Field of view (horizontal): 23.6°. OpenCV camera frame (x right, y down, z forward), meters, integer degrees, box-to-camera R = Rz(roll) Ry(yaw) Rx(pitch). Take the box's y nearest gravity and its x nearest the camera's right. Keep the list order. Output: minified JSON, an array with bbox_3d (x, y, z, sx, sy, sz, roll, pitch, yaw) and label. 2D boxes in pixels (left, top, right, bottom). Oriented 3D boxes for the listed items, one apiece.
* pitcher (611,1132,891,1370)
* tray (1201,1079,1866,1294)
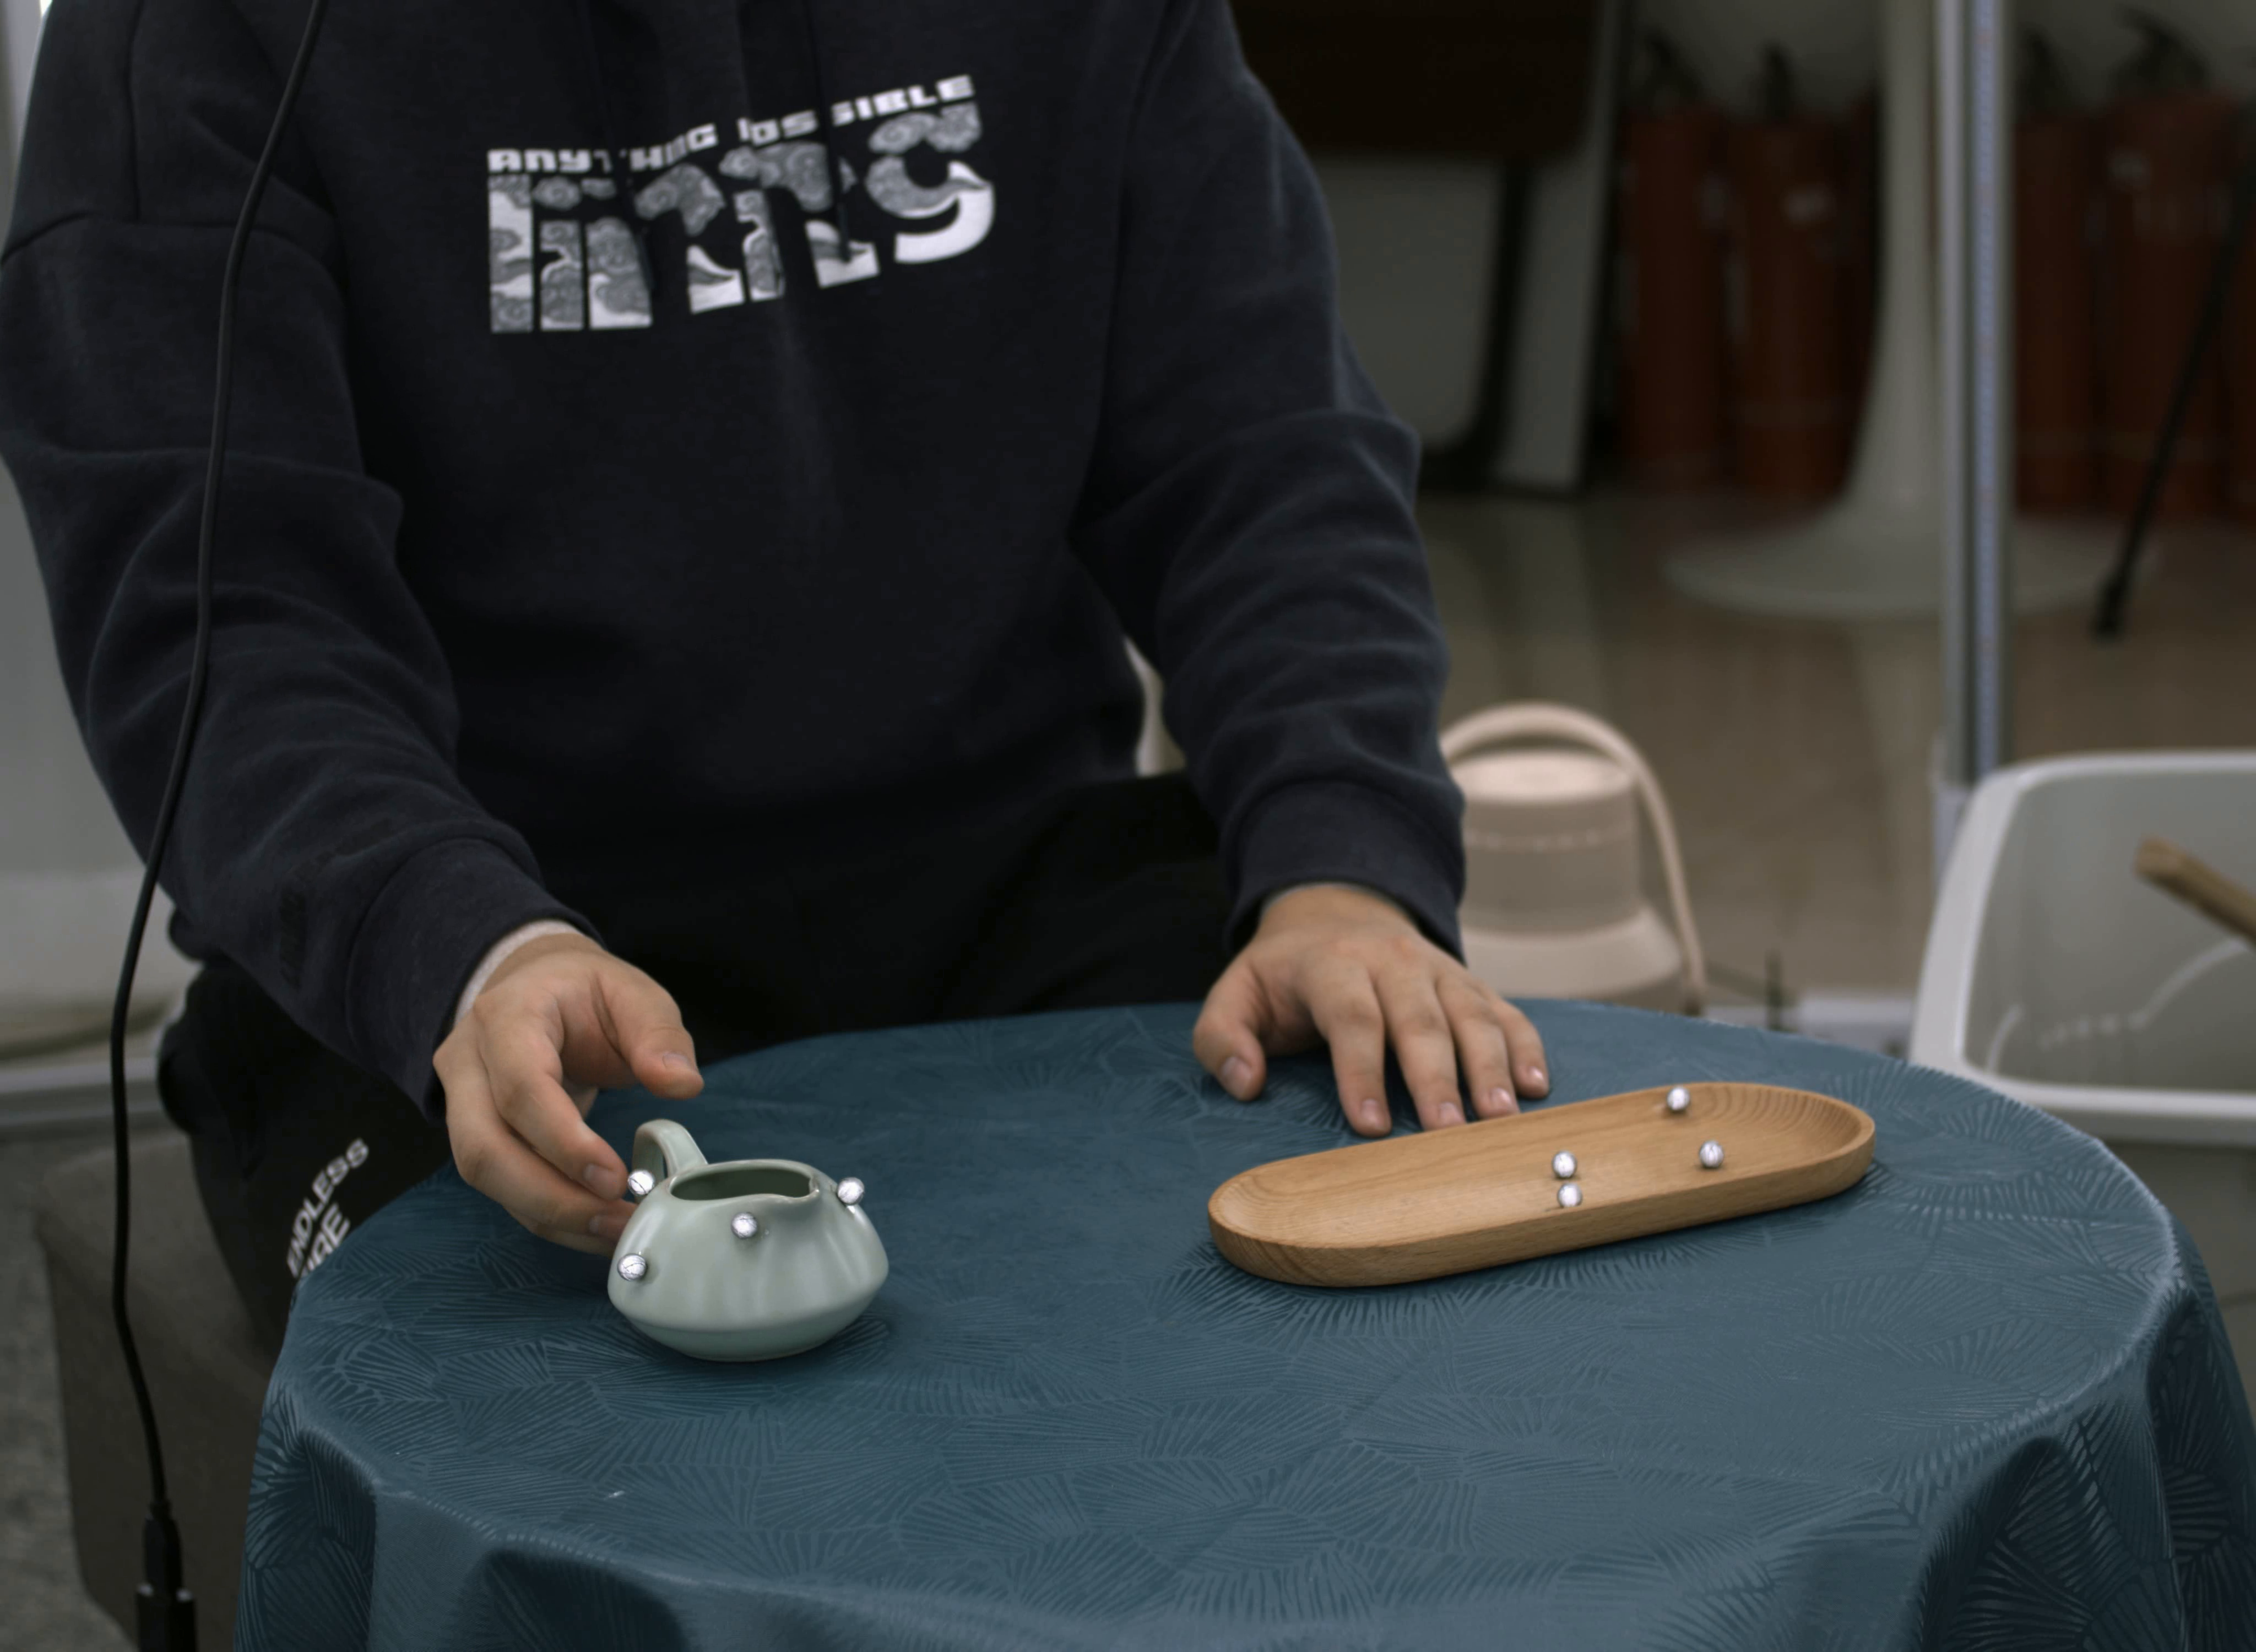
[{"bbox_3d":[-0.122,0.130,1.657,0.084,0.061,0.109,-11,13,-33],"label":"pitcher"},{"bbox_3d":[0.132,0.115,1.728,0.226,0.020,0.102,-12,14,-22],"label":"tray"}]
